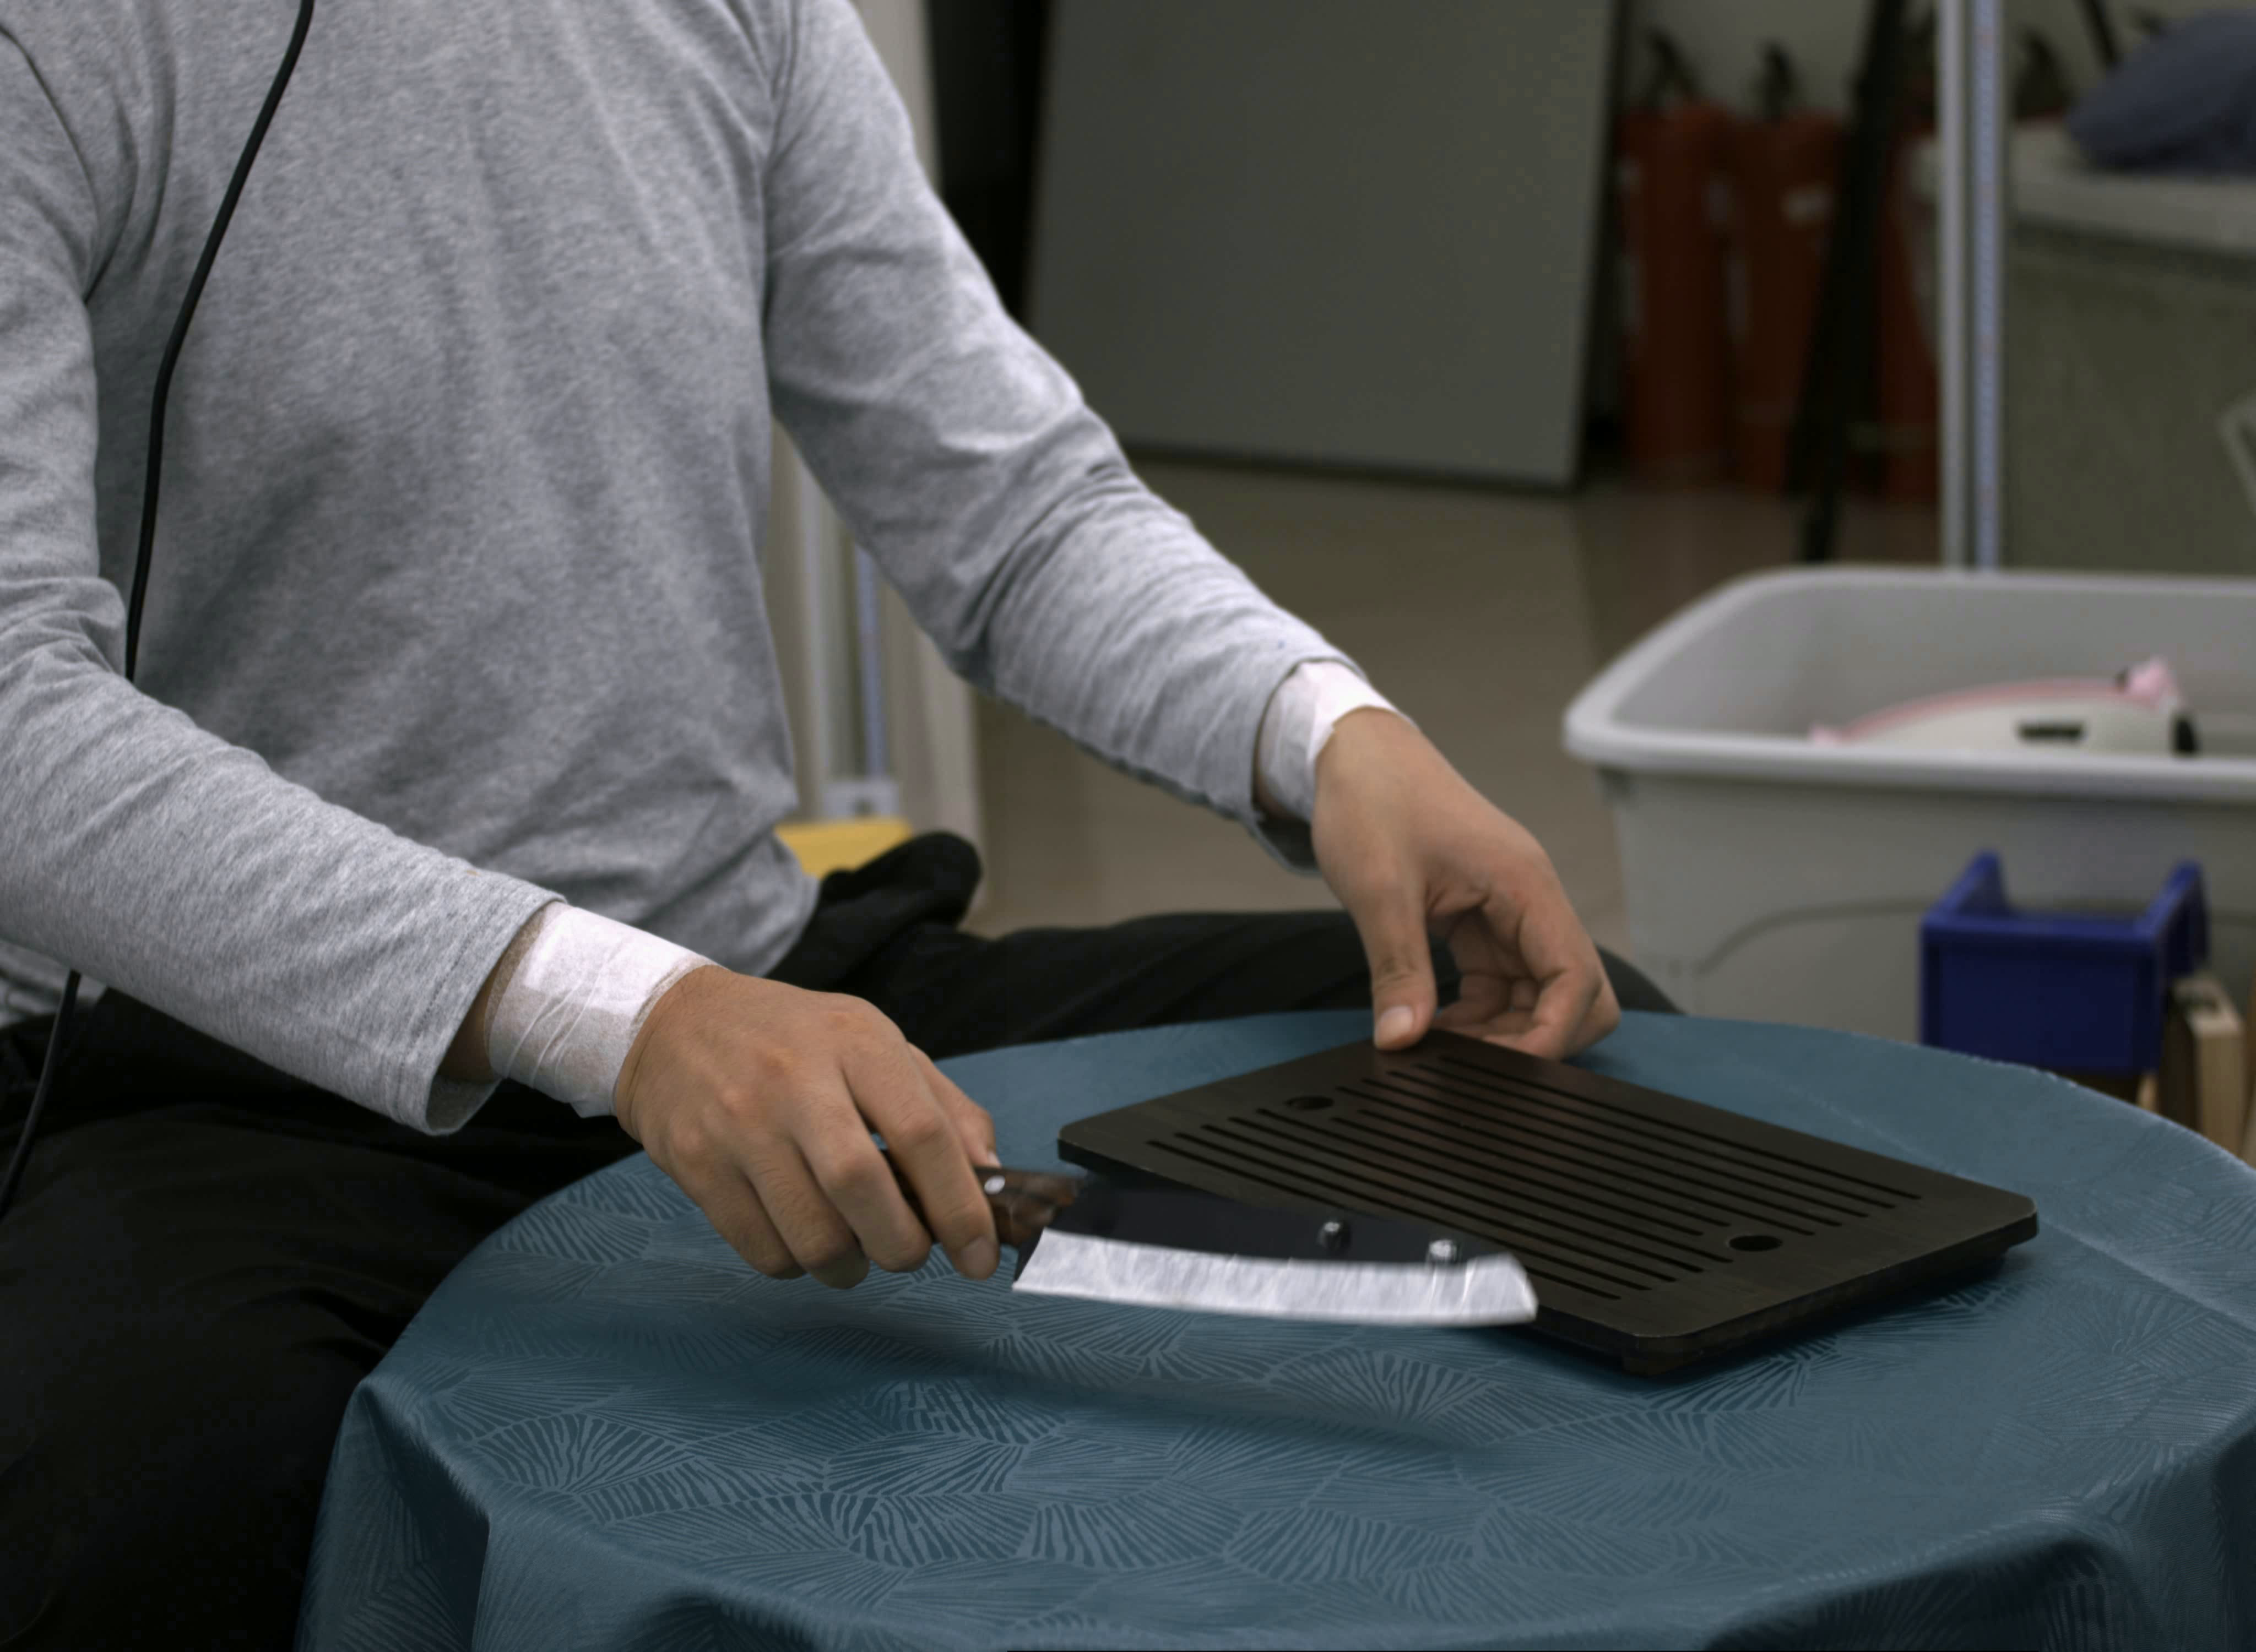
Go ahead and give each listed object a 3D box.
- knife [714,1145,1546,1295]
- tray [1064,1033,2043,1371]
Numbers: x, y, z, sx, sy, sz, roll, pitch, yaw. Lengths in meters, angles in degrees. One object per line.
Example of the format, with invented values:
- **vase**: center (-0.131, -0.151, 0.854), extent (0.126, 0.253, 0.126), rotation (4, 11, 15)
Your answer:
- **knife**: center (-0.004, 0.117, 1.591), extent (0.290, 0.020, 0.050), rotation (3, 48, 32)
- **tray**: center (0.130, 0.116, 1.719), extent (0.166, 0.019, 0.309), rotation (-14, 16, -34)
